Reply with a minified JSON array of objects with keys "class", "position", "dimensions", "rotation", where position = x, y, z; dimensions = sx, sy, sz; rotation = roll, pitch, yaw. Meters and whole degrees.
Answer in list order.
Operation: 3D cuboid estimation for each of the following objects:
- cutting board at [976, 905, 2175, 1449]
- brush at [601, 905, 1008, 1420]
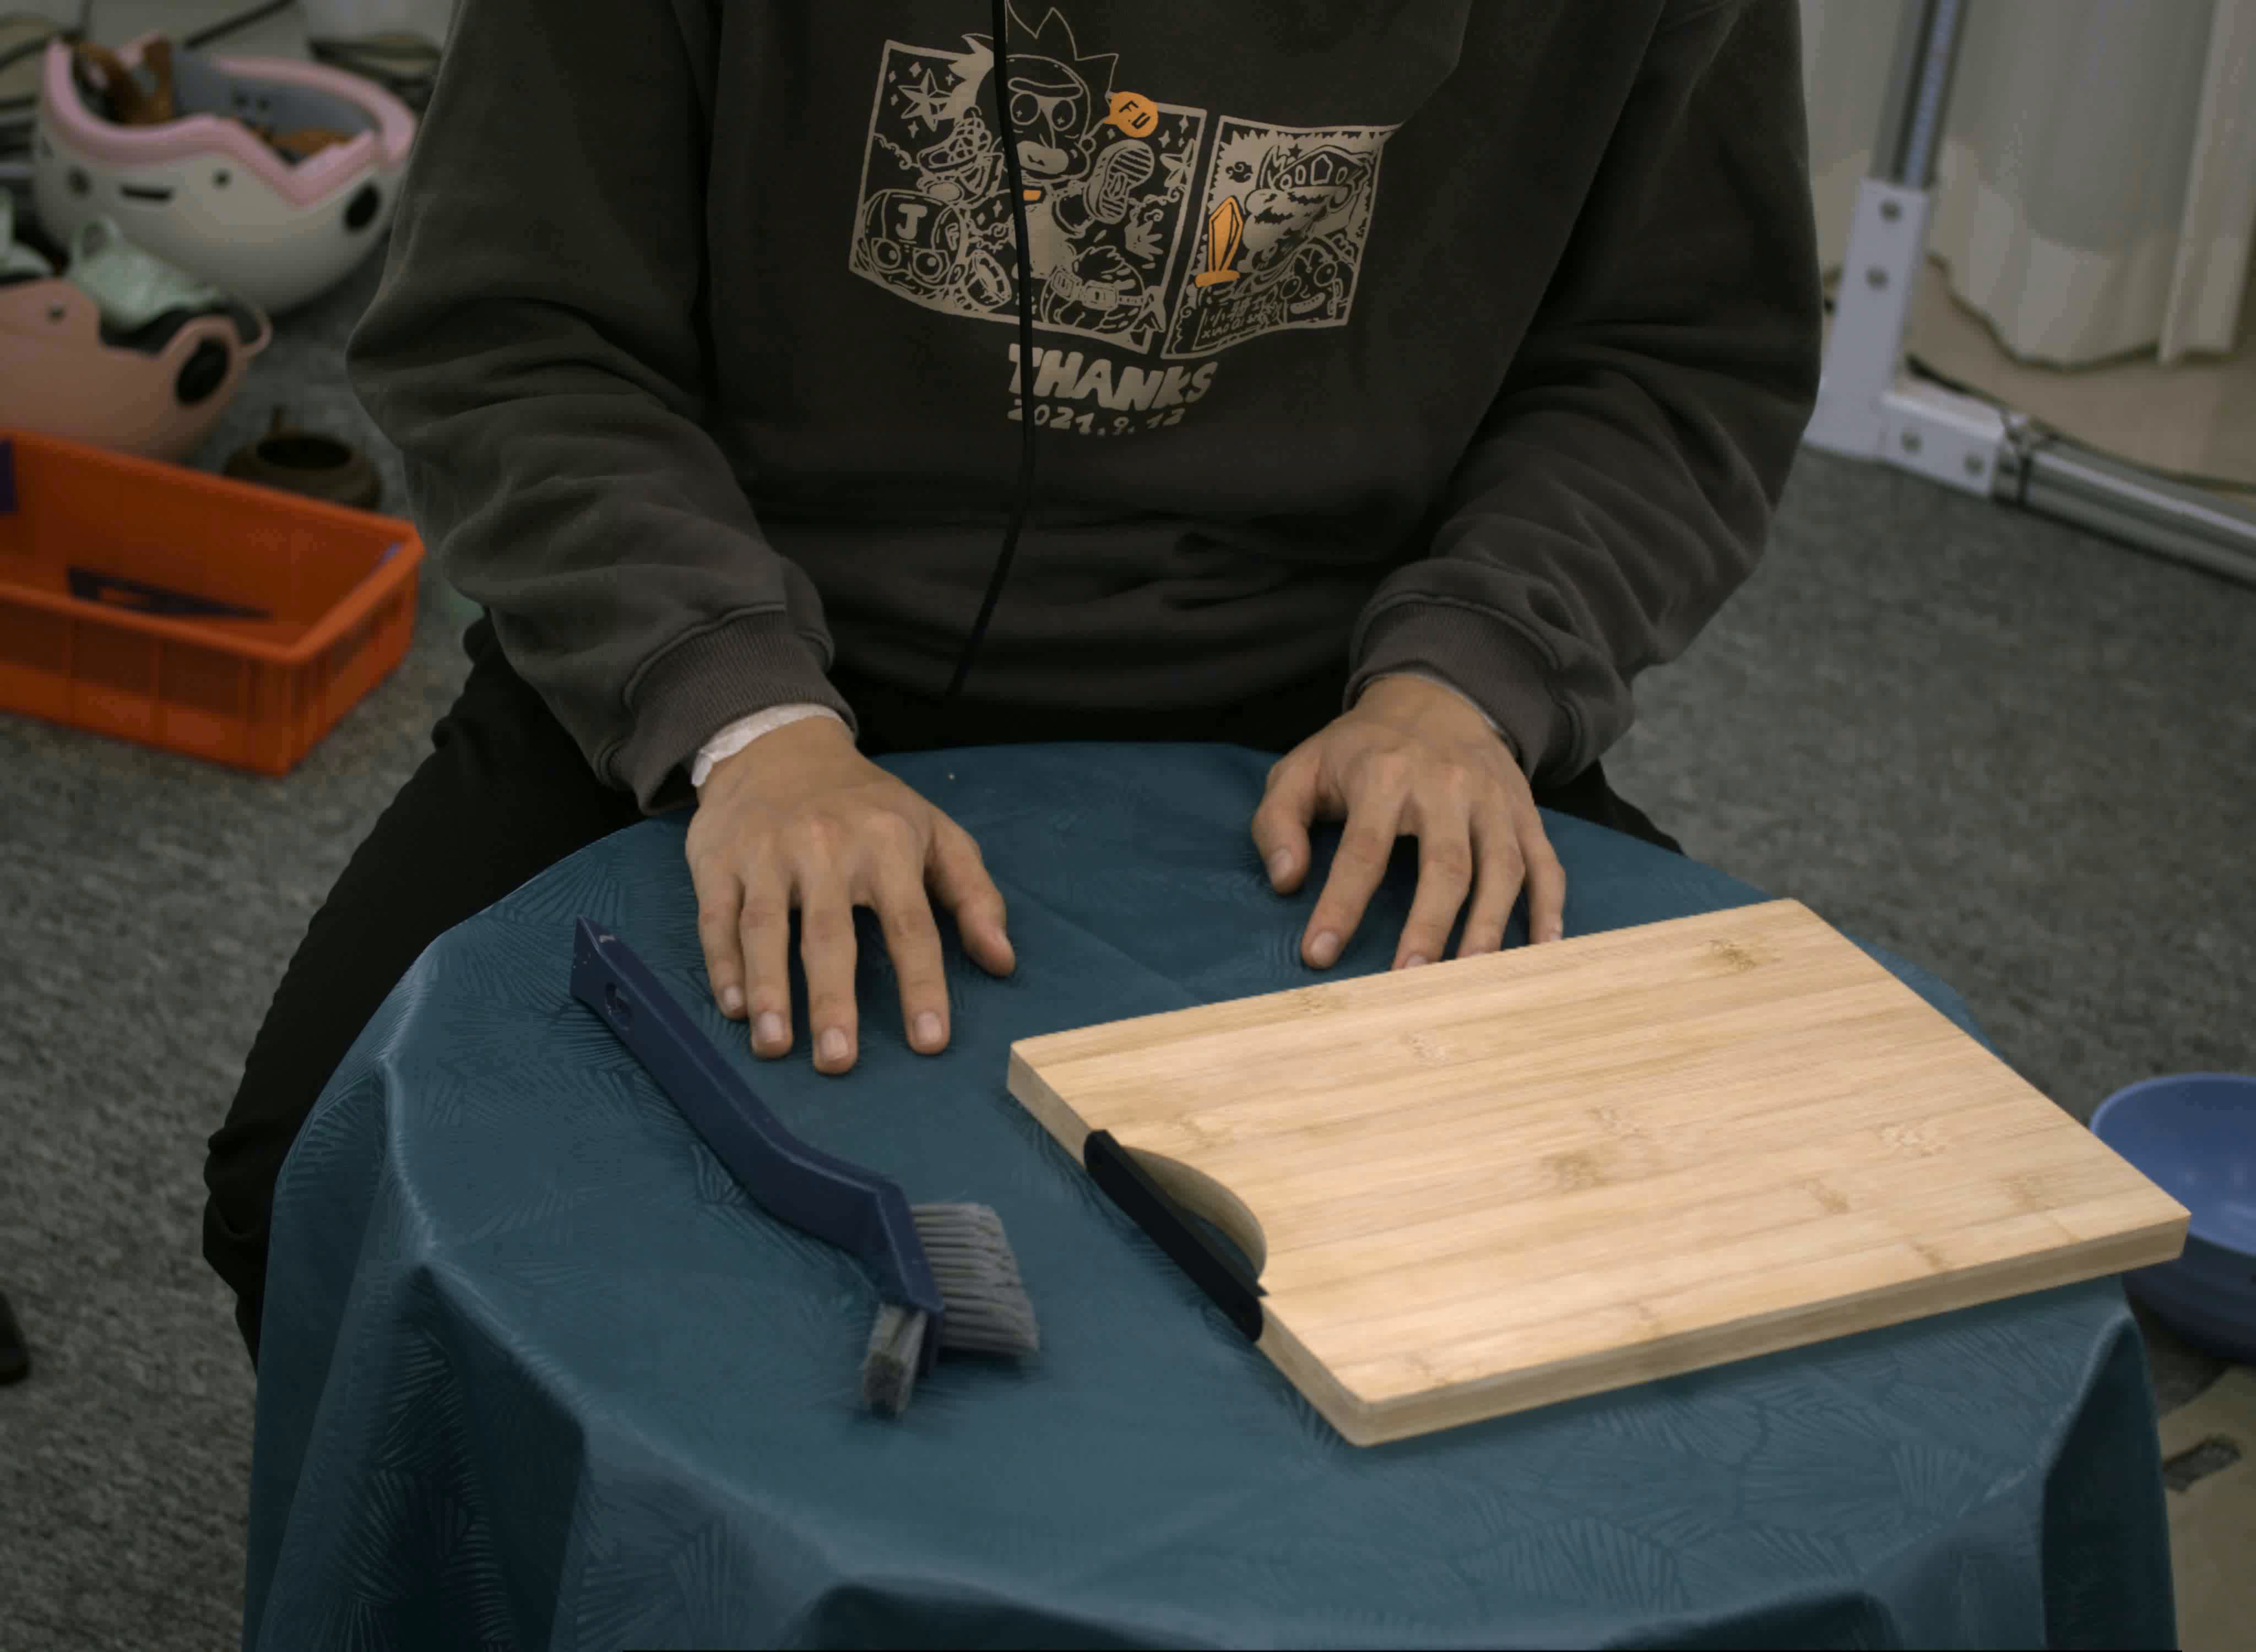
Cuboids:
[{"class":"cutting board","position":[0.156,0.114,1.840],"dimensions":[0.346,0.023,0.253],"rotation":[-9,30,-29]},{"class":"brush","position":[-0.128,0.107,1.773],"dimensions":[0.095,0.033,0.275],"rotation":[-13,34,-34]}]
